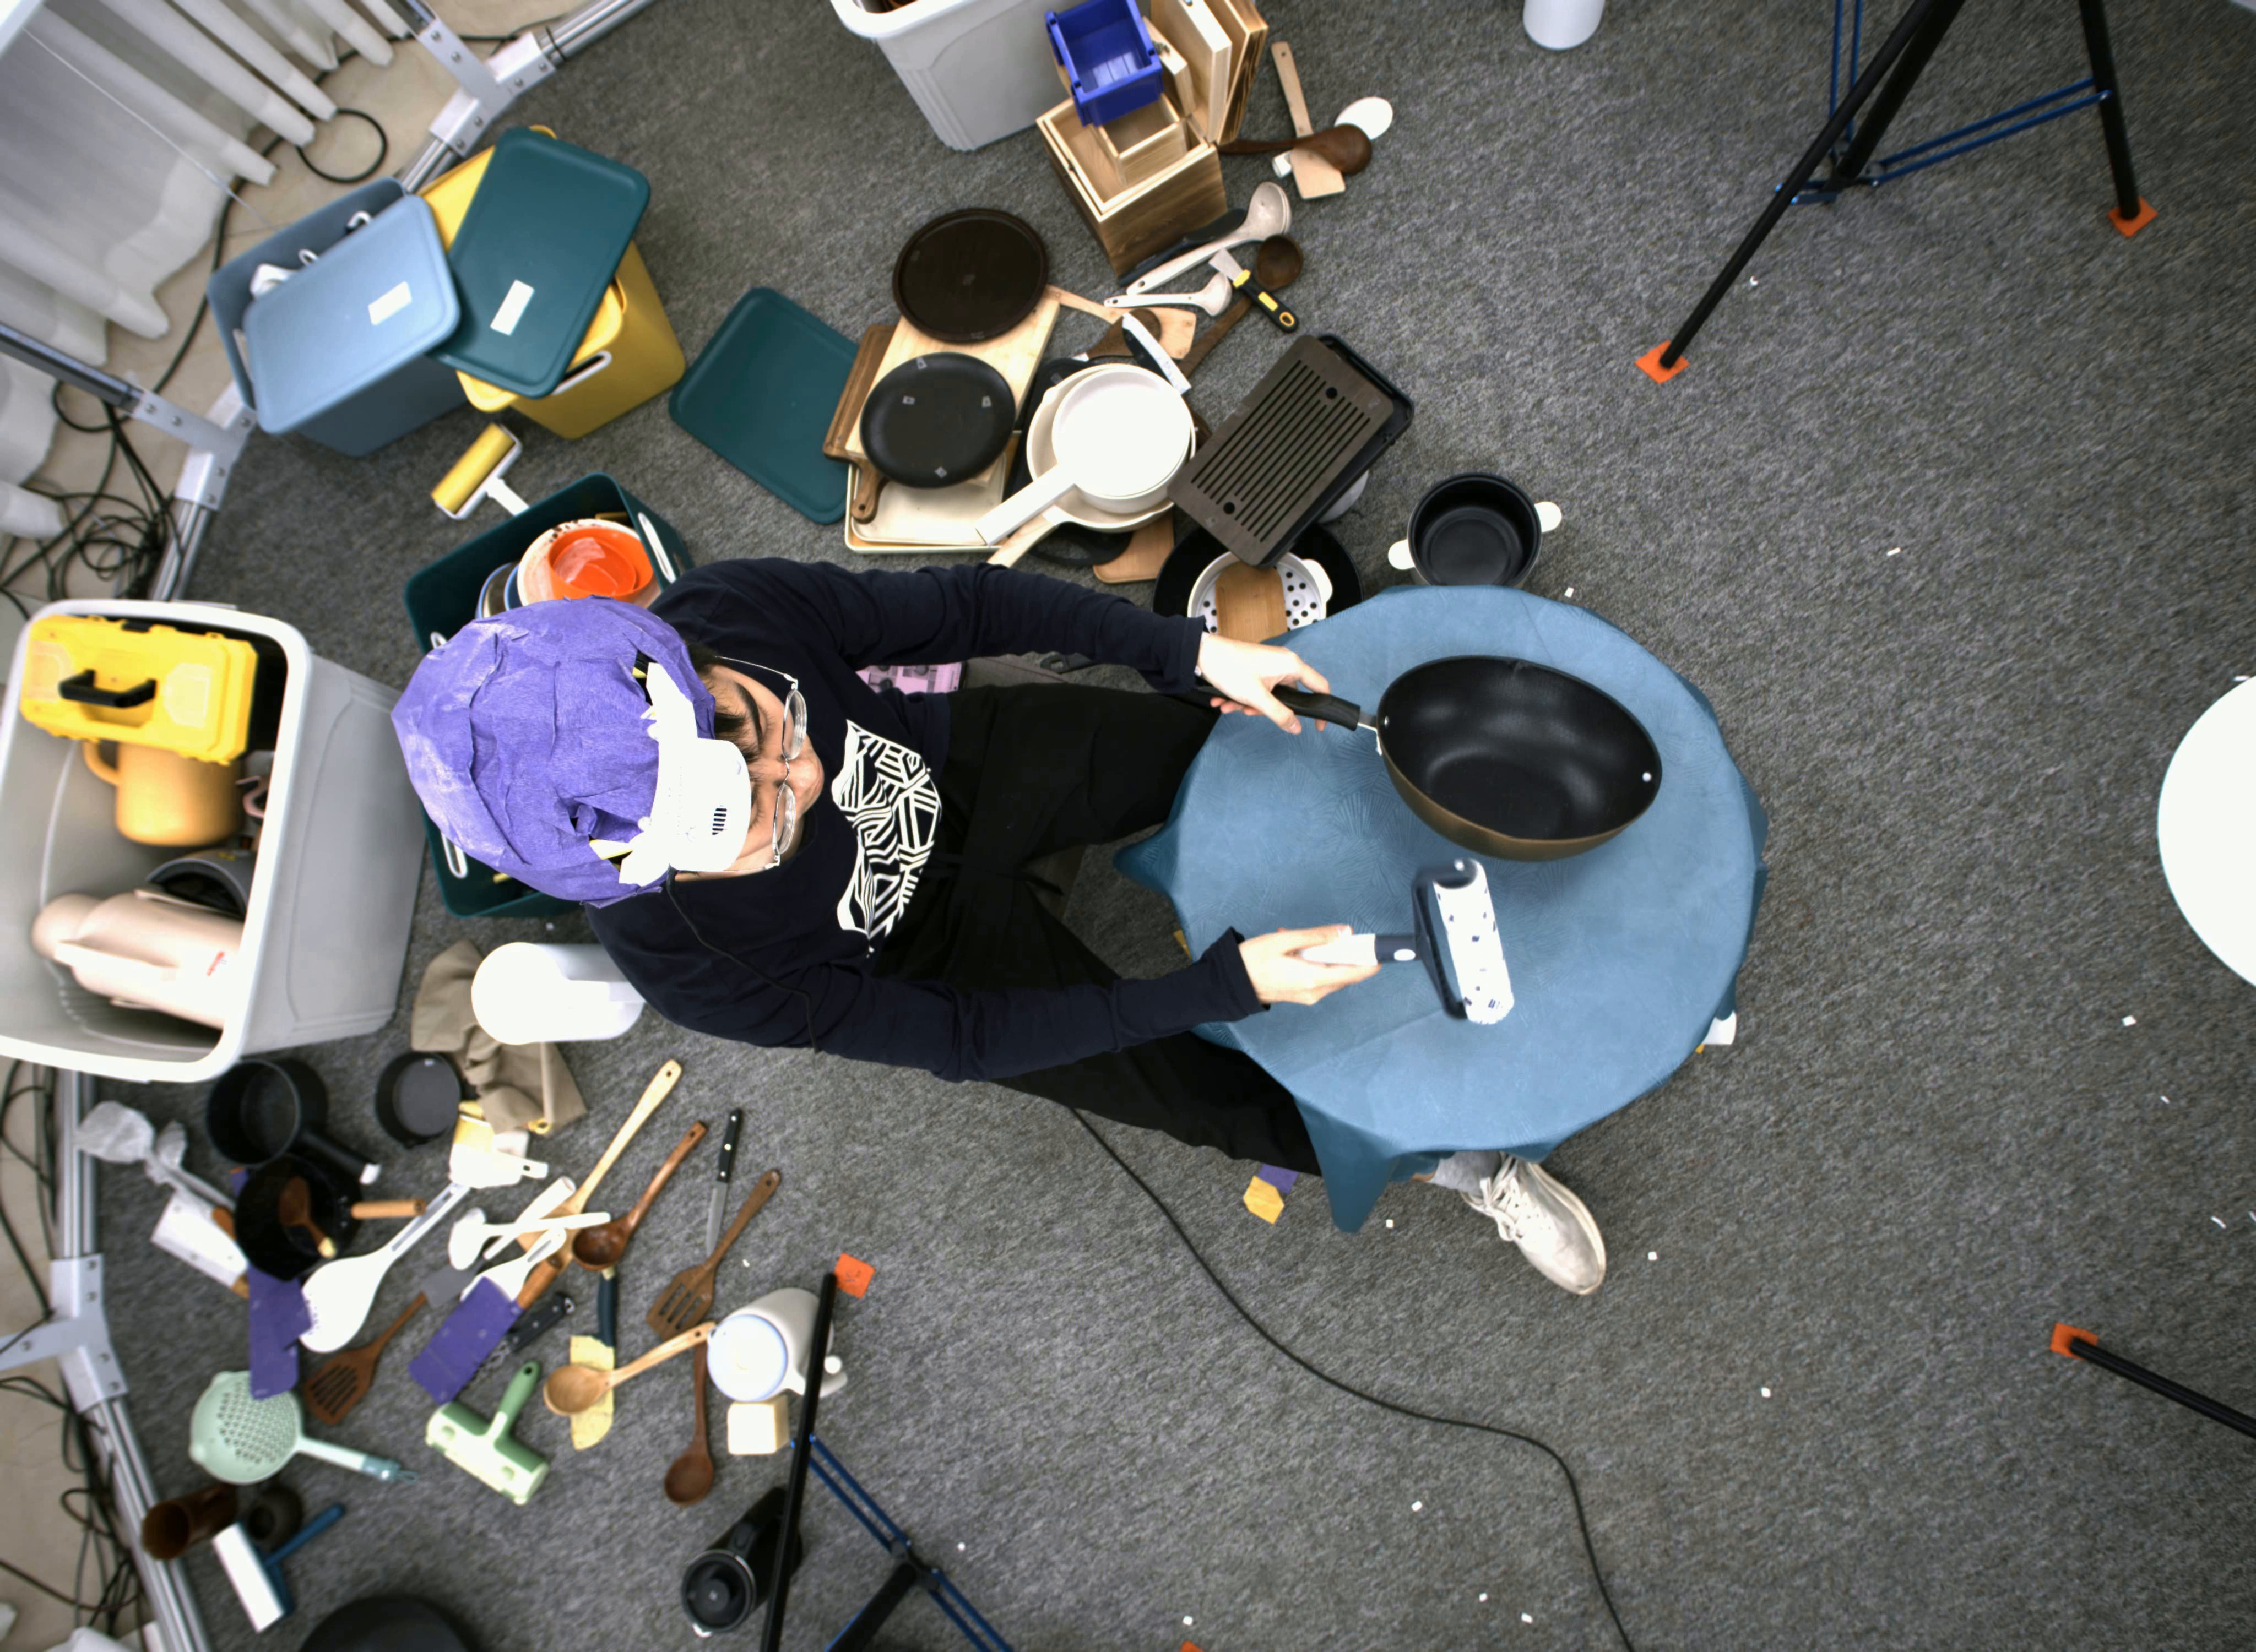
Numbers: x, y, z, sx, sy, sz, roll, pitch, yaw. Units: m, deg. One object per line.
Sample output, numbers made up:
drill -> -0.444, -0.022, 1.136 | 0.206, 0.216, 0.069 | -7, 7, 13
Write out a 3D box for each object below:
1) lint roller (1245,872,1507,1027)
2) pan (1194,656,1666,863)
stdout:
lint roller -> 0.230, 0.125, 1.333 | 0.249, 0.049, 0.180 | -6, 128, 23
pan -> 0.289, -0.076, 1.366 | 0.464, 0.089, 0.280 | 12, 44, 8
